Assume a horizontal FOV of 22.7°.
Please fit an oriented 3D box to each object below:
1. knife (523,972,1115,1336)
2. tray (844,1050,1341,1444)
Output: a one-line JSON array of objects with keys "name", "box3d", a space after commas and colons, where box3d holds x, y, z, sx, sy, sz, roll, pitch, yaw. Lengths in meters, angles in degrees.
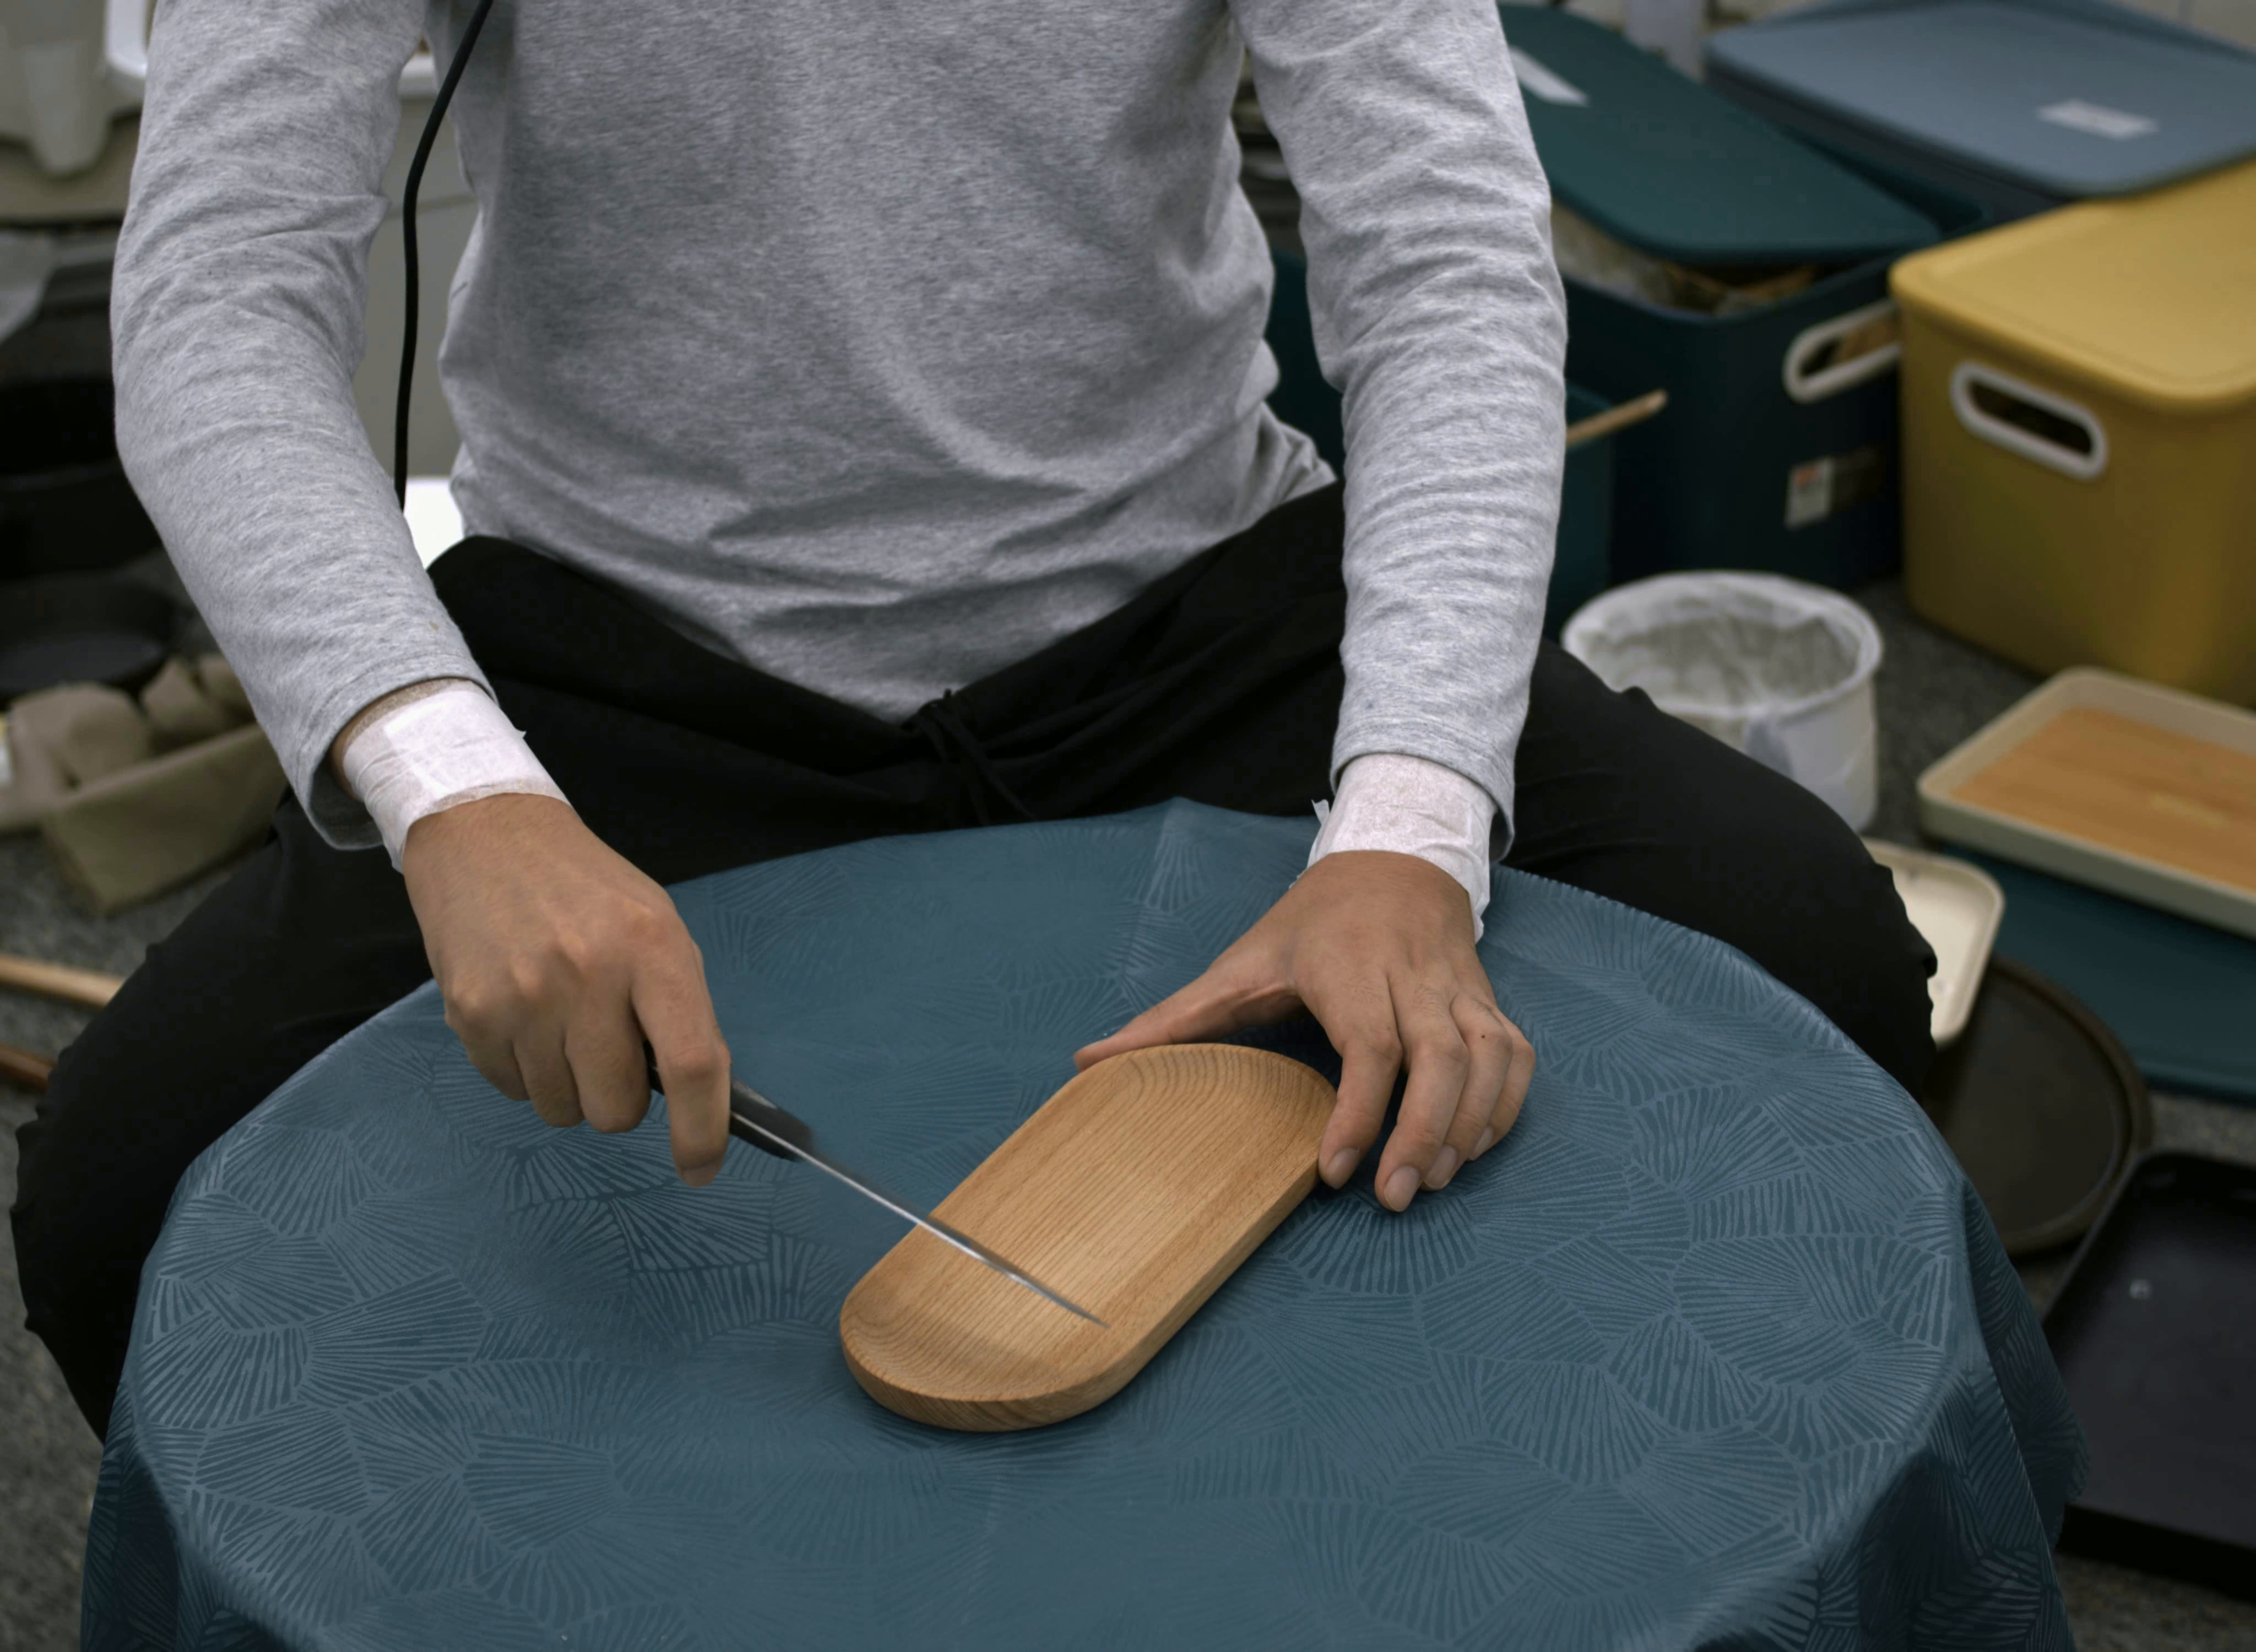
[{"name": "knife", "box3d": [-0.101, 0.104, 1.776, 0.238, 0.016, 0.024, 29, 6, 24]}, {"name": "tray", "box3d": [-0.009, 0.134, 1.821, 0.101, 0.020, 0.235, 9, 31, 25]}]
